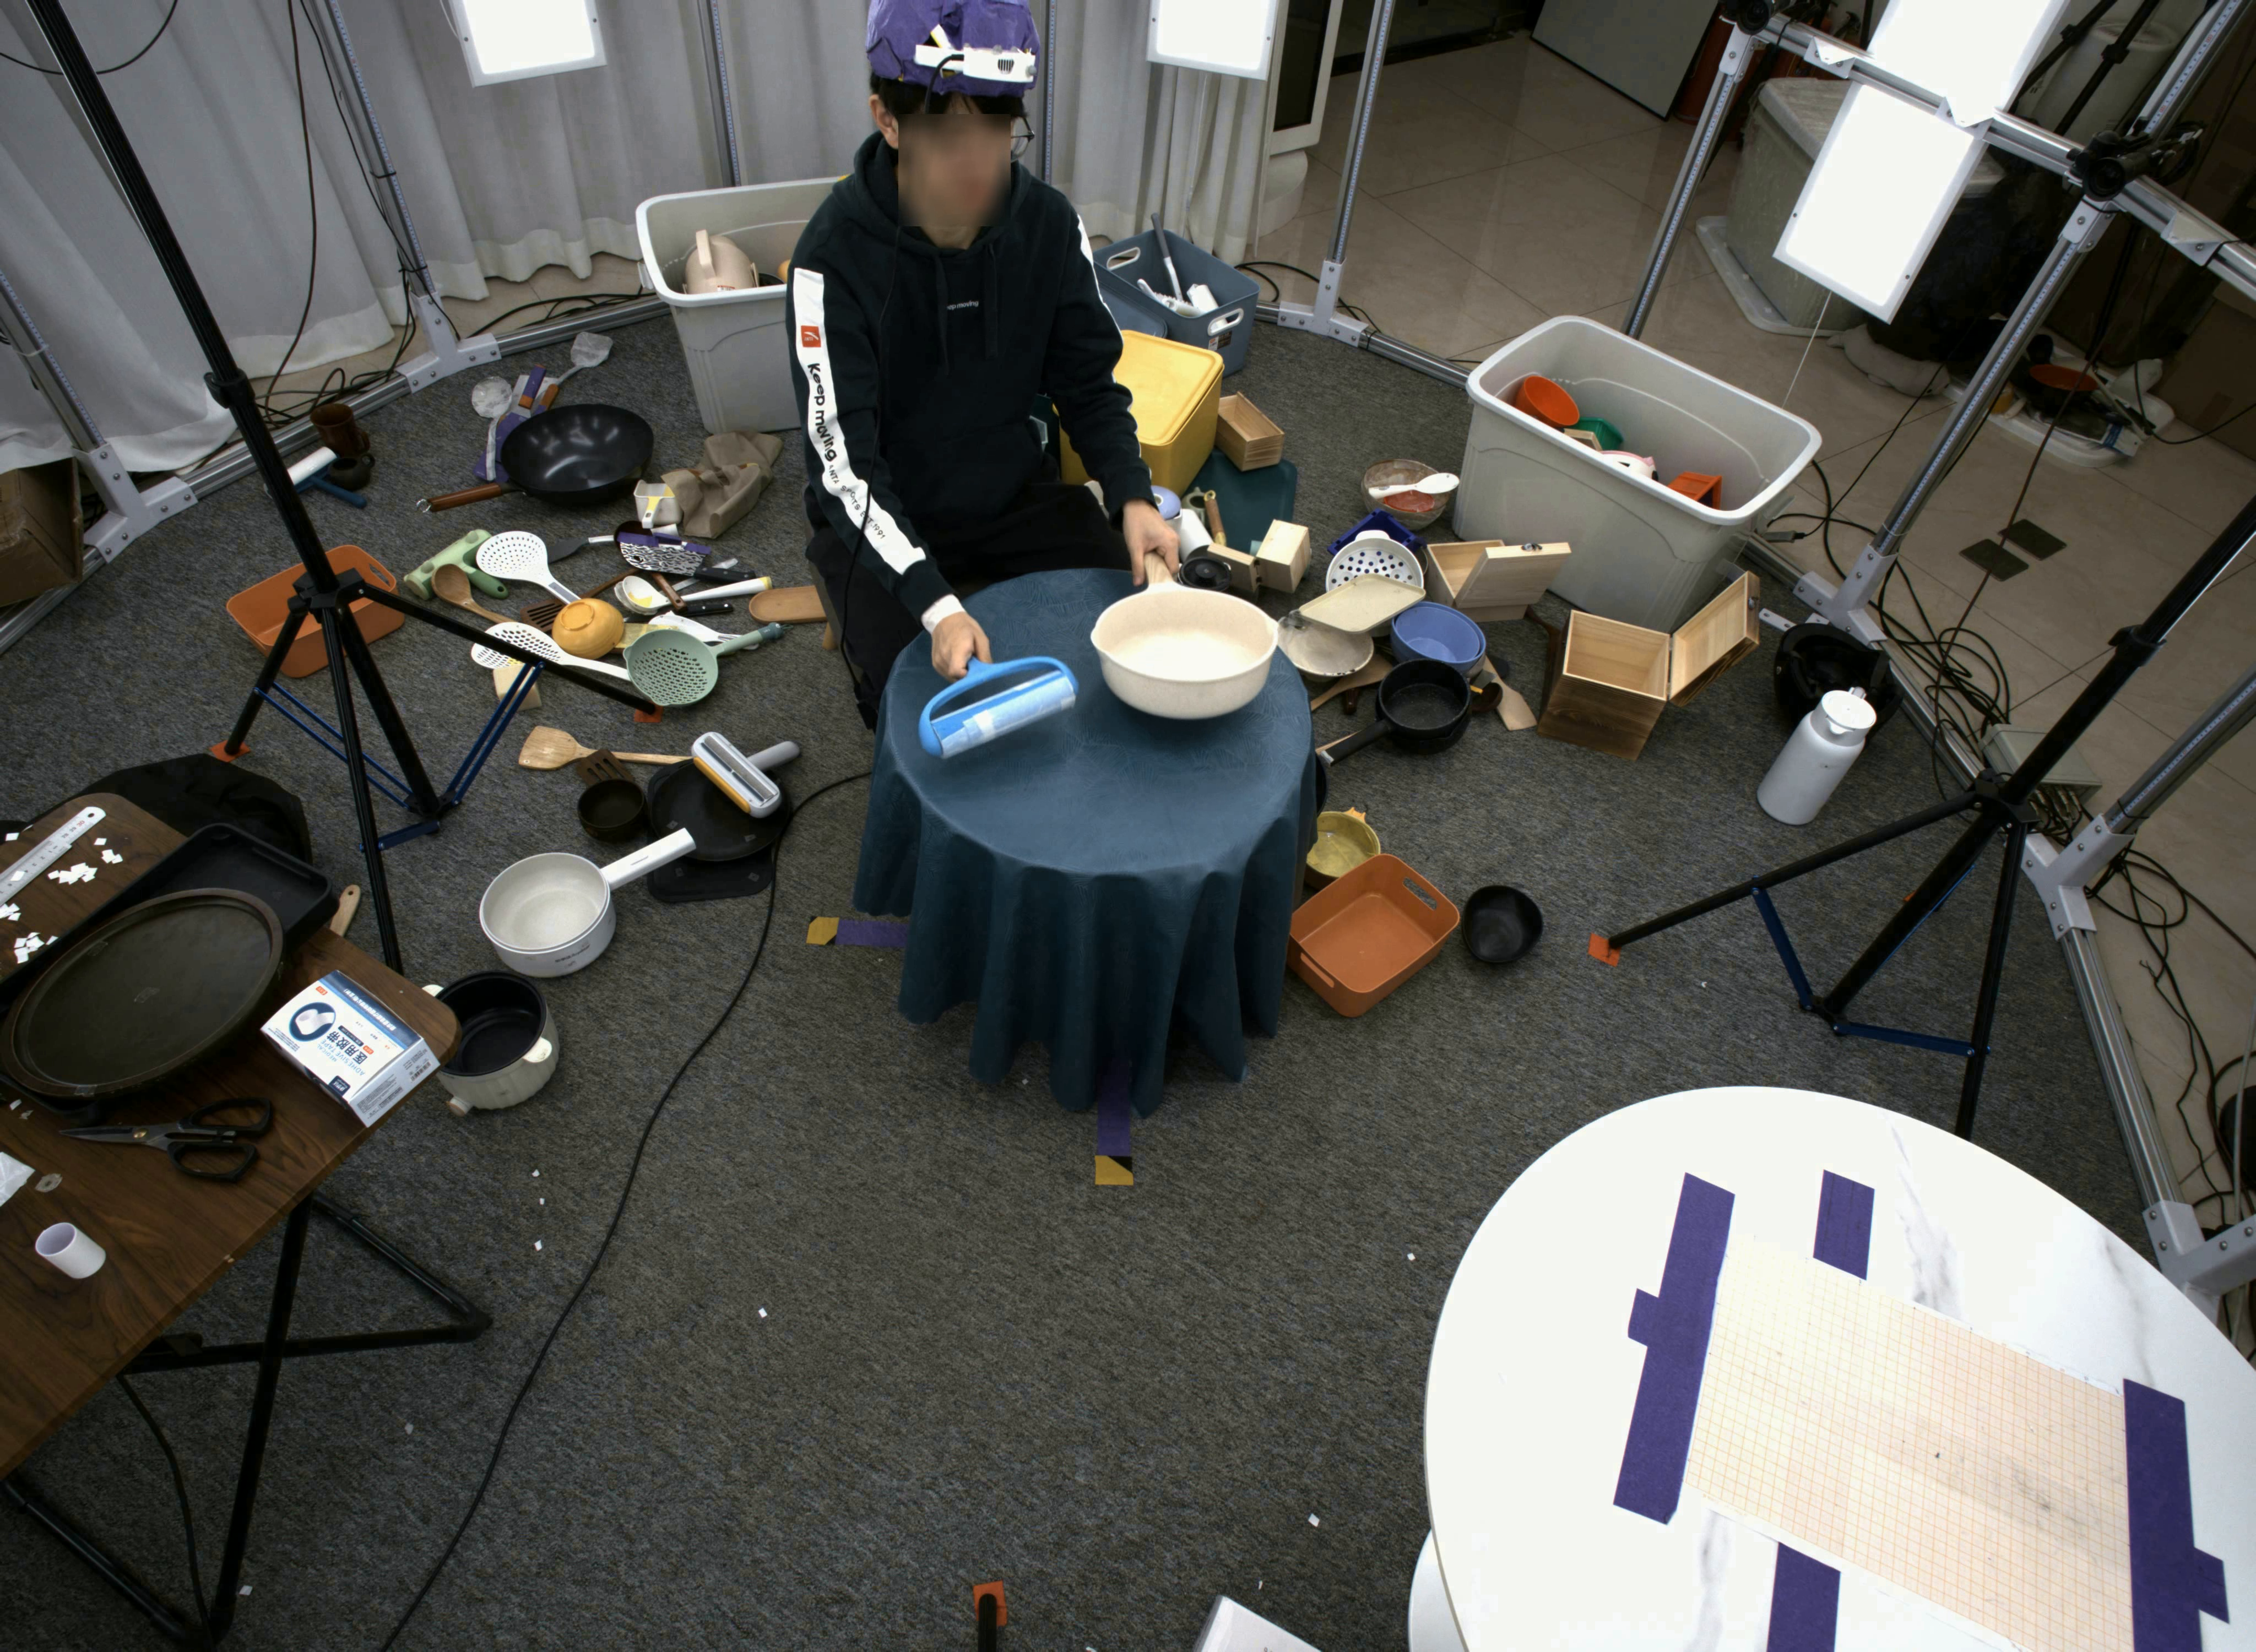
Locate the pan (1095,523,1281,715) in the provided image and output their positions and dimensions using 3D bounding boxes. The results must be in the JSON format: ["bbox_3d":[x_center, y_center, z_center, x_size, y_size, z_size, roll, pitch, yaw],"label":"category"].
[{"bbox_3d":[0.063,-0.301,1.853,0.263,0.099,0.445,-9,37,-10],"label":"pan"}]

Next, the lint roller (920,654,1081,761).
[{"bbox_3d":[-0.198,-0.188,1.730,0.230,0.066,0.184,-29,54,-18],"label":"lint roller"}]
